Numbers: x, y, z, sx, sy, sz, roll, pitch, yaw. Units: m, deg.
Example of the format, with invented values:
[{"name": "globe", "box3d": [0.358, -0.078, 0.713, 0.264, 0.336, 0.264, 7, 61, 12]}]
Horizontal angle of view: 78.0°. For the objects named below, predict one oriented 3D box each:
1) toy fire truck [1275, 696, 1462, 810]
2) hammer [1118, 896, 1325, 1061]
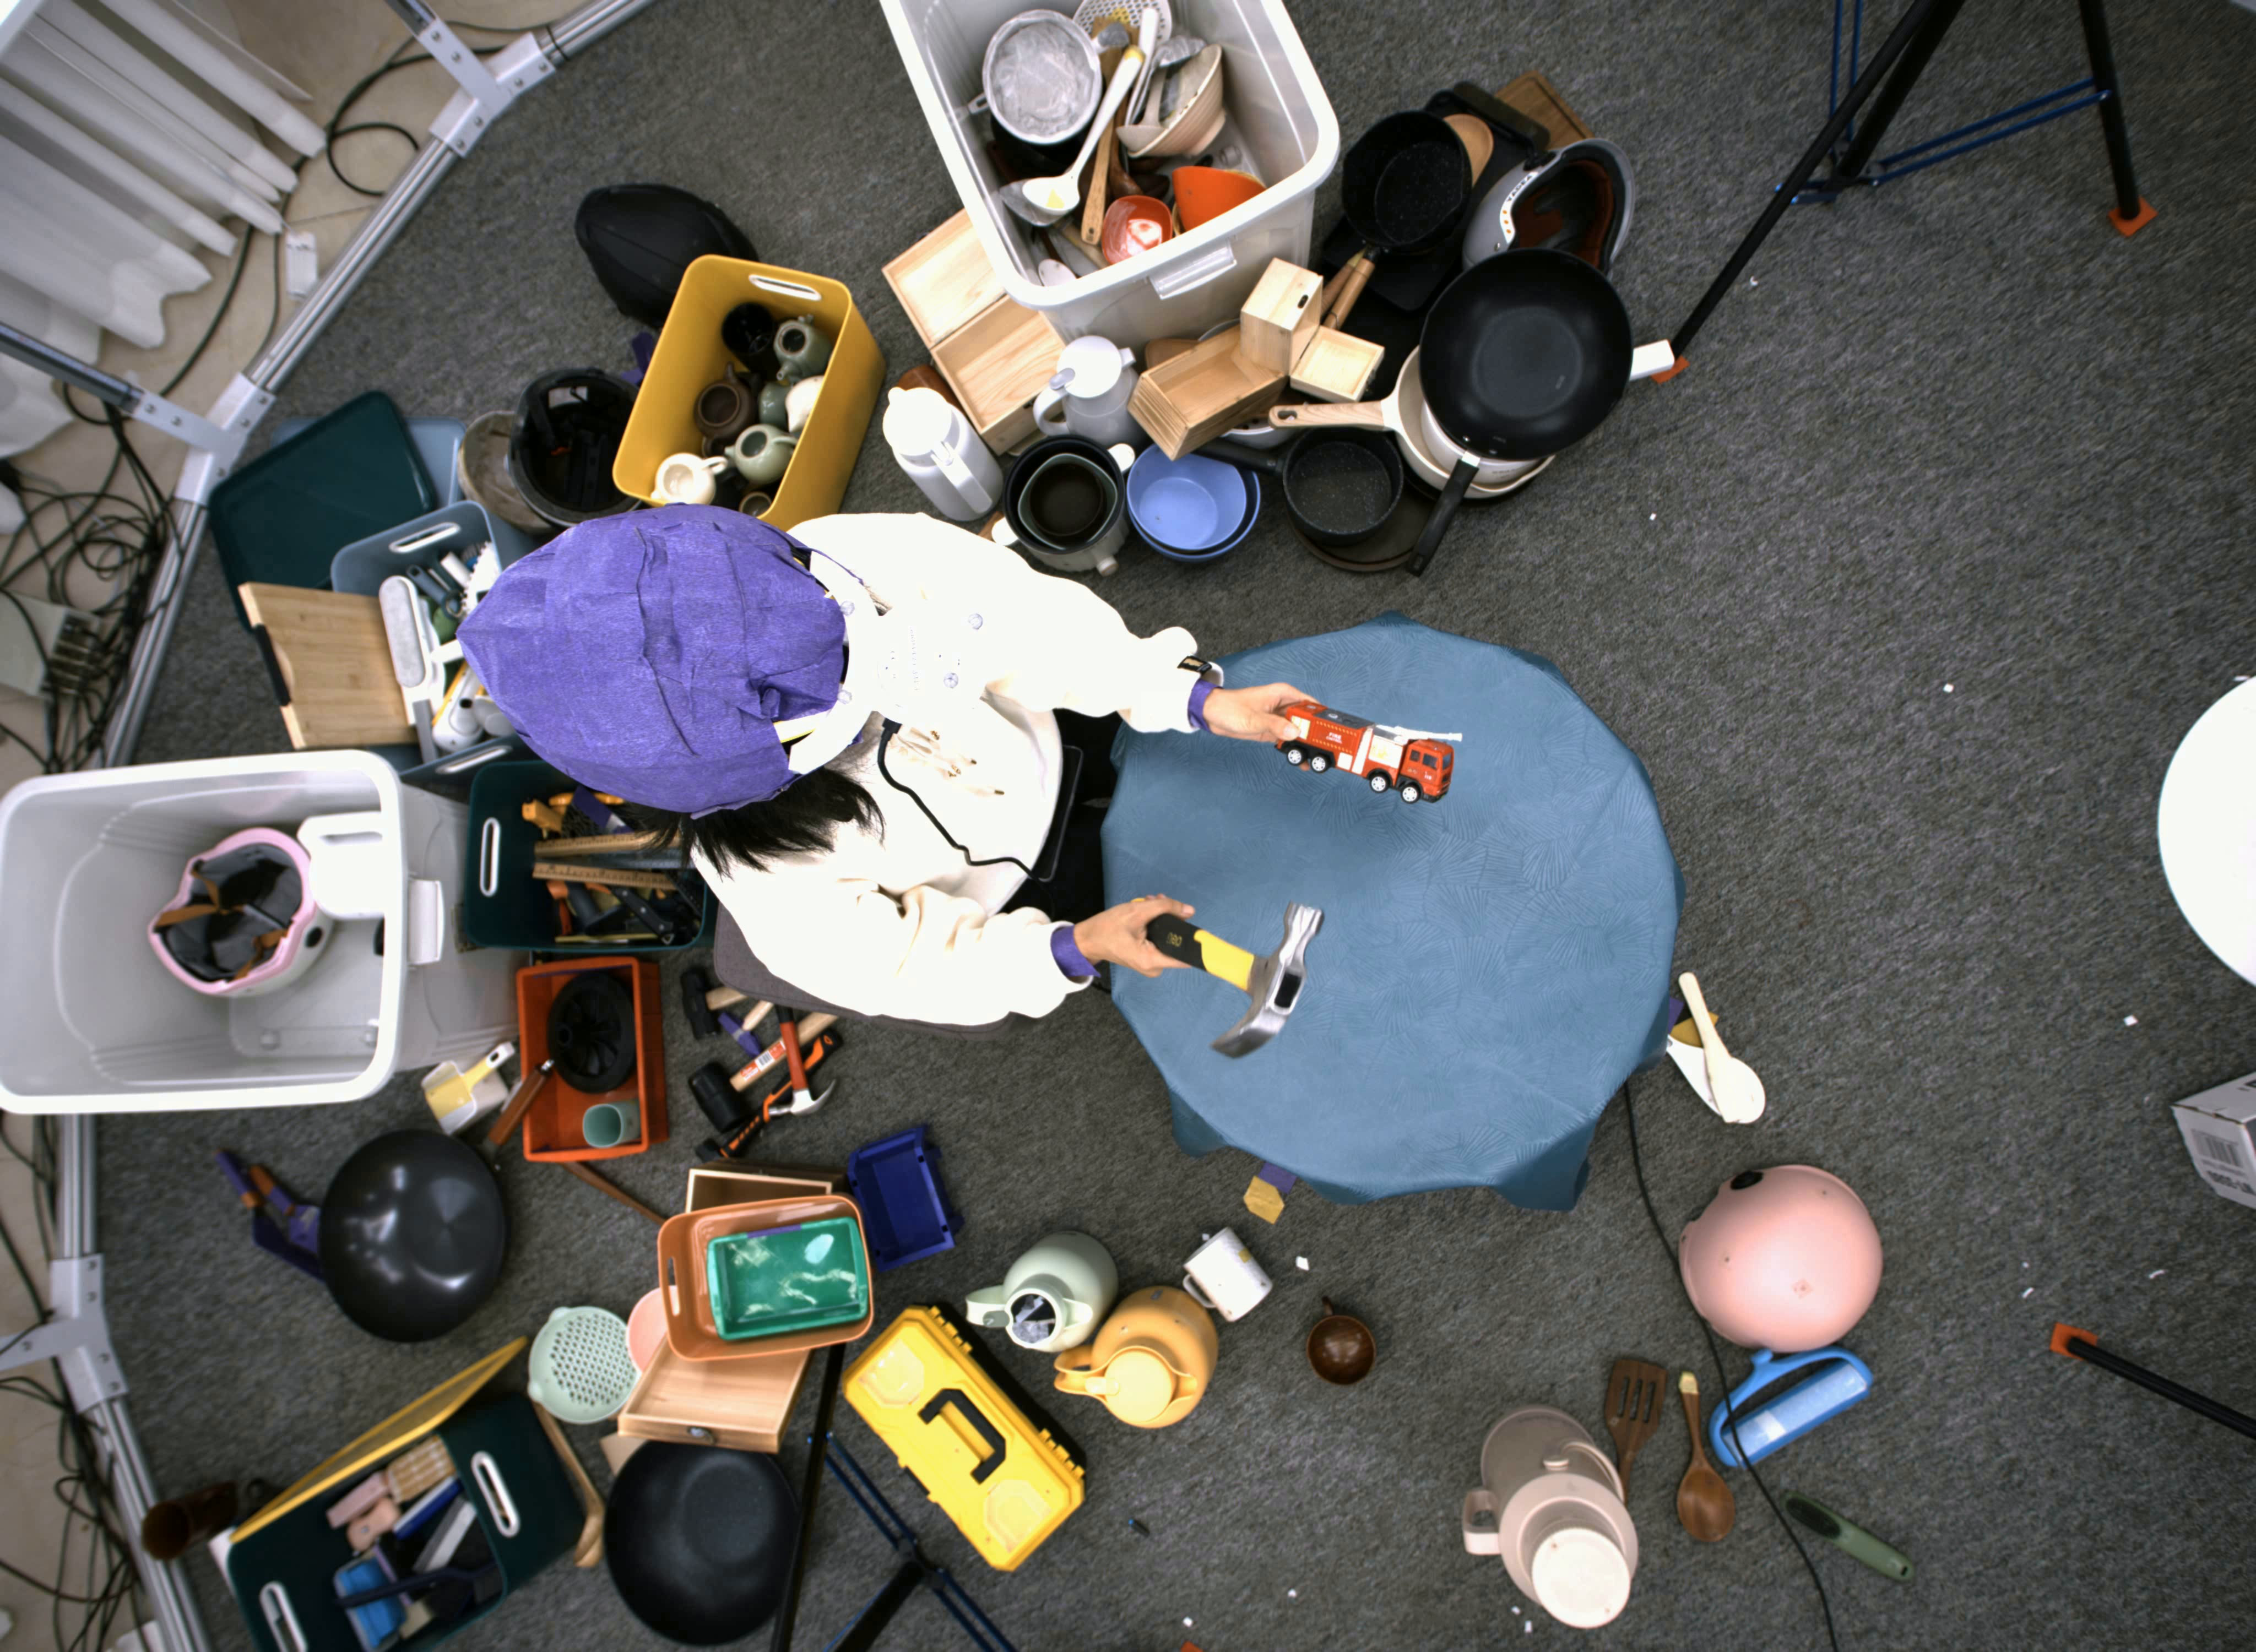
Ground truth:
[{"name": "toy fire truck", "box3d": [0.222, -0.072, 1.277, 0.168, 0.053, 0.071, 20, 114, 24]}, {"name": "hammer", "box3d": [0.061, 0.107, 1.205, 0.032, 0.337, 0.131, 19, 91, -22]}]
